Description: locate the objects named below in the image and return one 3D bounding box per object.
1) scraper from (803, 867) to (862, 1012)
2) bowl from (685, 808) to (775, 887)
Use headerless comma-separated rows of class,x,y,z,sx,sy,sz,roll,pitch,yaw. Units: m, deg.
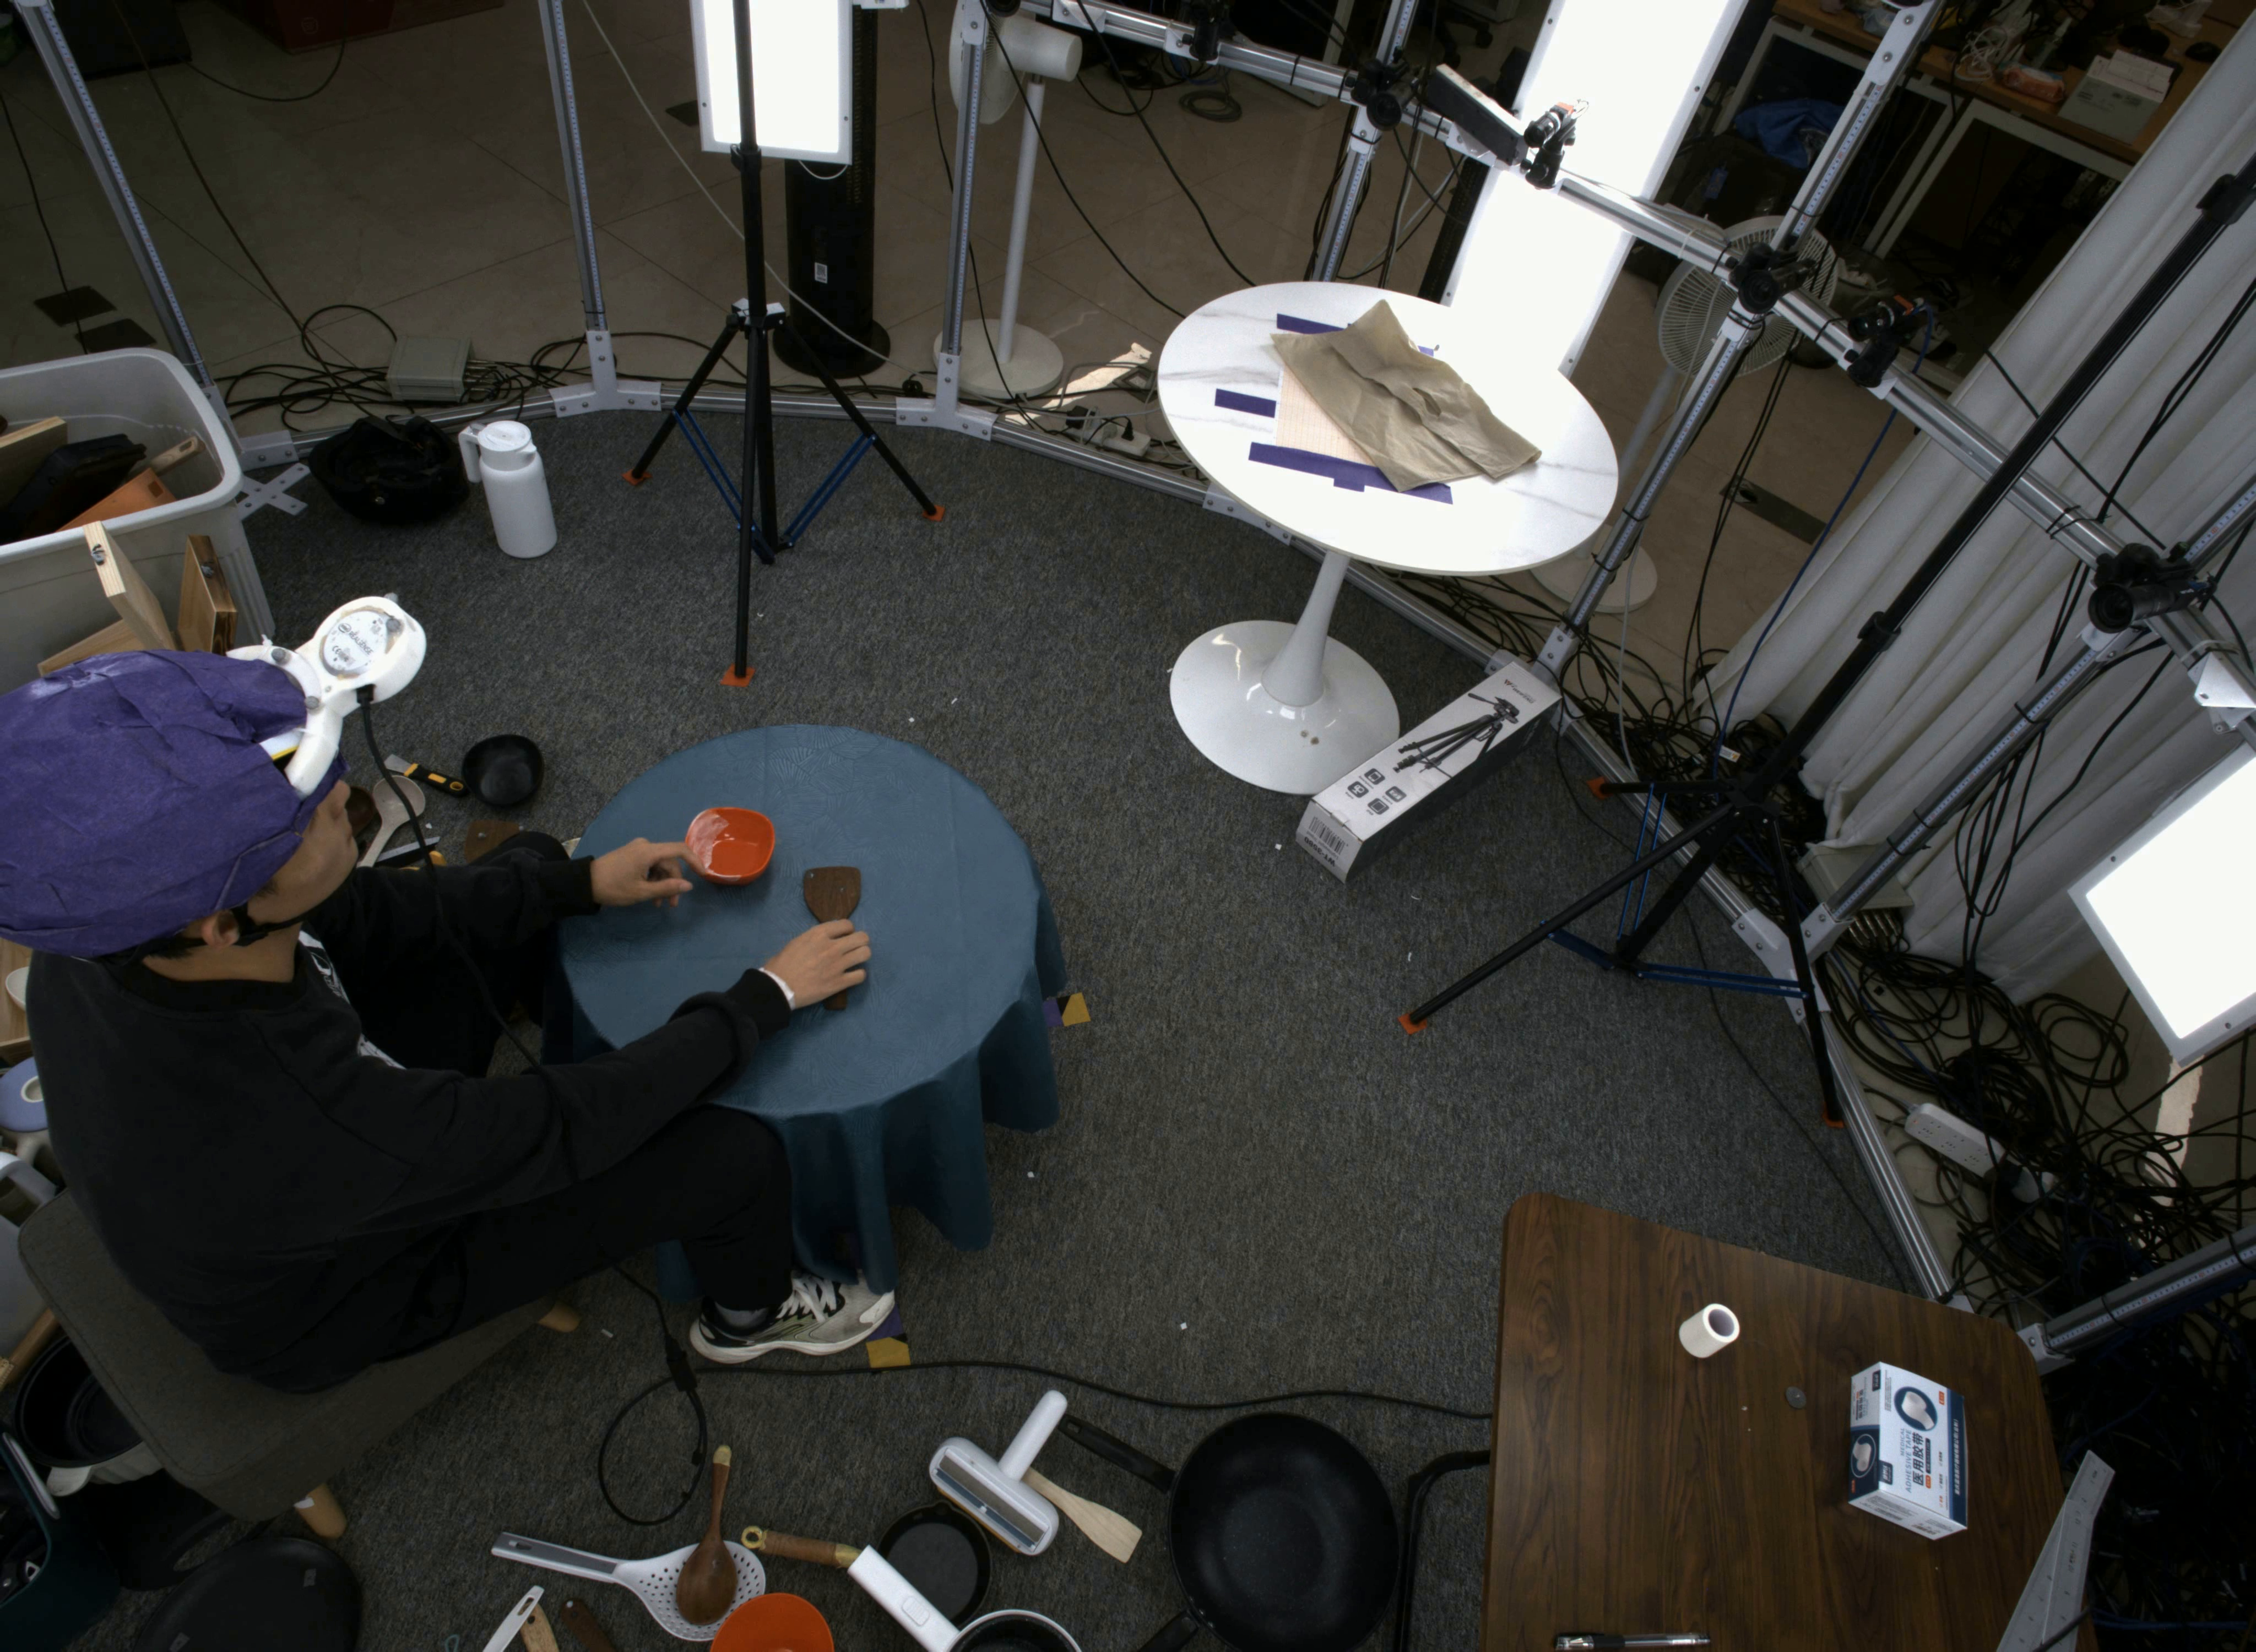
scraper,-0.370,0.139,1.635,0.076,0.011,0.207,-1,55,-14
bowl,-0.507,0.034,1.651,0.119,0.052,0.117,9,51,-10
